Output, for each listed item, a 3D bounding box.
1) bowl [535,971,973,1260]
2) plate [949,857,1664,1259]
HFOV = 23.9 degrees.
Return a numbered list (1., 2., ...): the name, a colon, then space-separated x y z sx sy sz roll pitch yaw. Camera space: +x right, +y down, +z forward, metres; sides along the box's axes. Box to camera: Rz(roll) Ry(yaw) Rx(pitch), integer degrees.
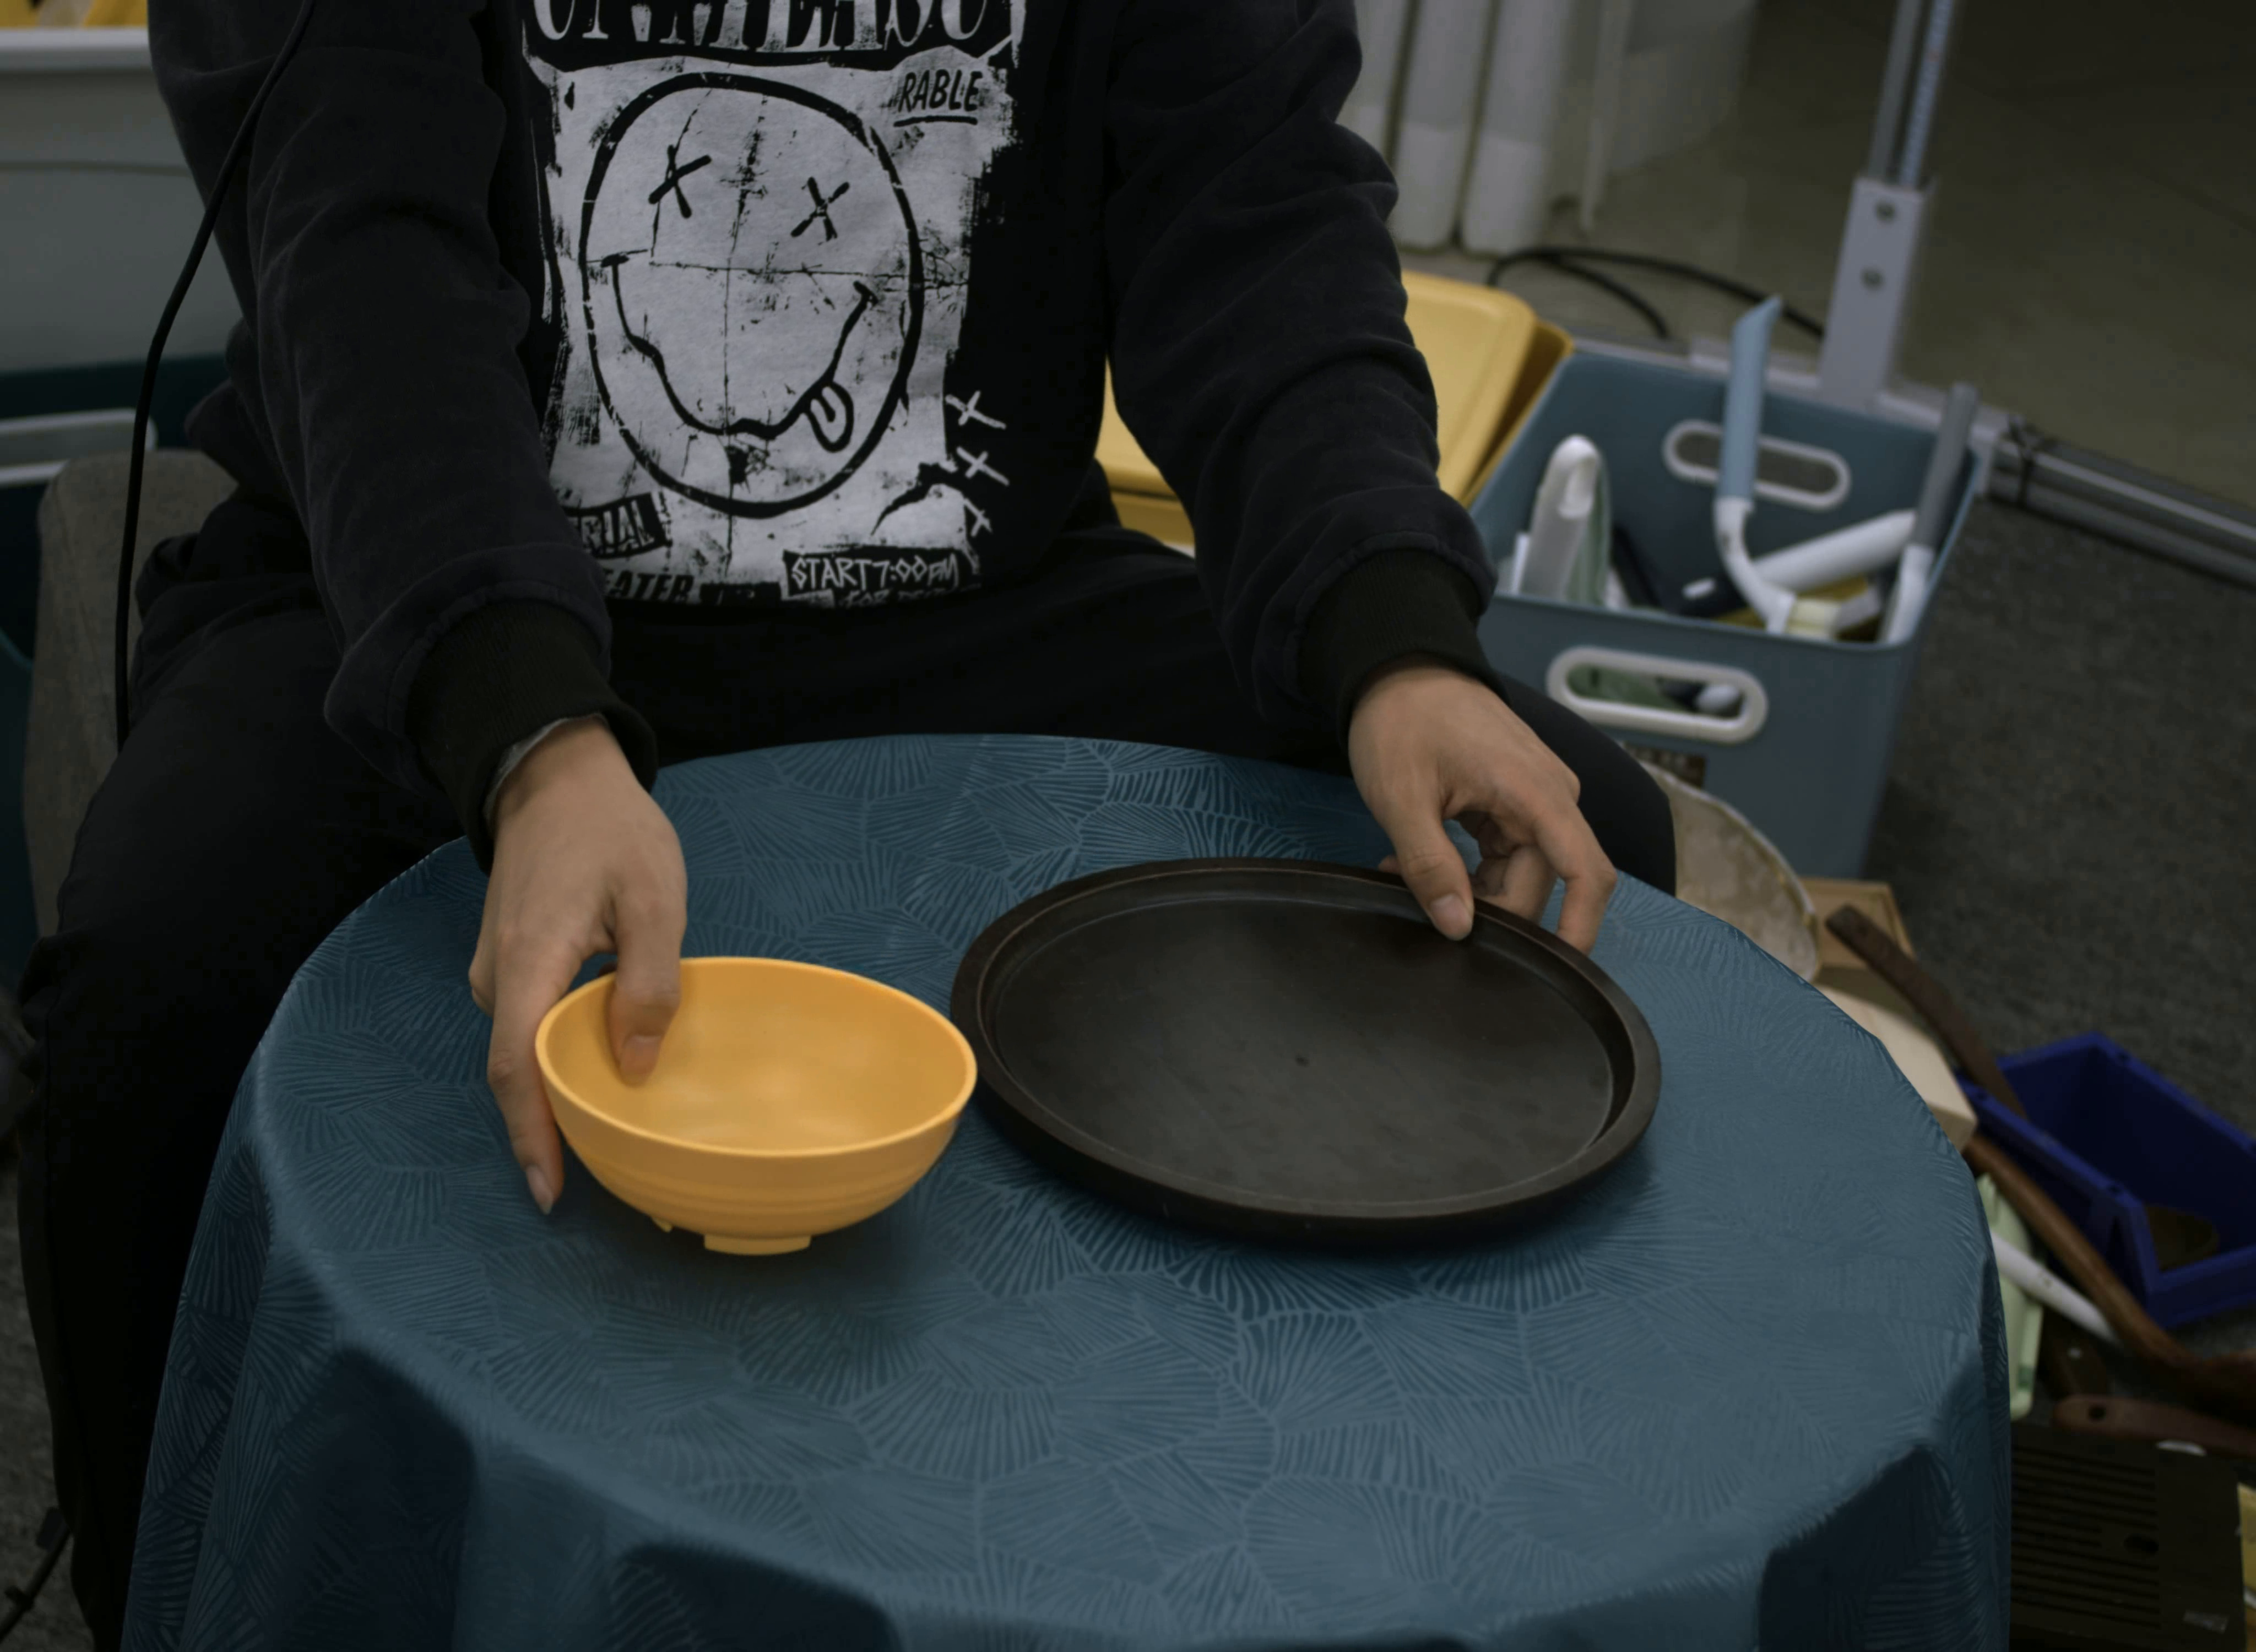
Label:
1. bowl: -0.125 0.102 1.749 0.145 0.060 0.146 5 21 -2
2. plate: 0.063 0.080 1.874 0.254 0.029 0.256 3 27 -2
